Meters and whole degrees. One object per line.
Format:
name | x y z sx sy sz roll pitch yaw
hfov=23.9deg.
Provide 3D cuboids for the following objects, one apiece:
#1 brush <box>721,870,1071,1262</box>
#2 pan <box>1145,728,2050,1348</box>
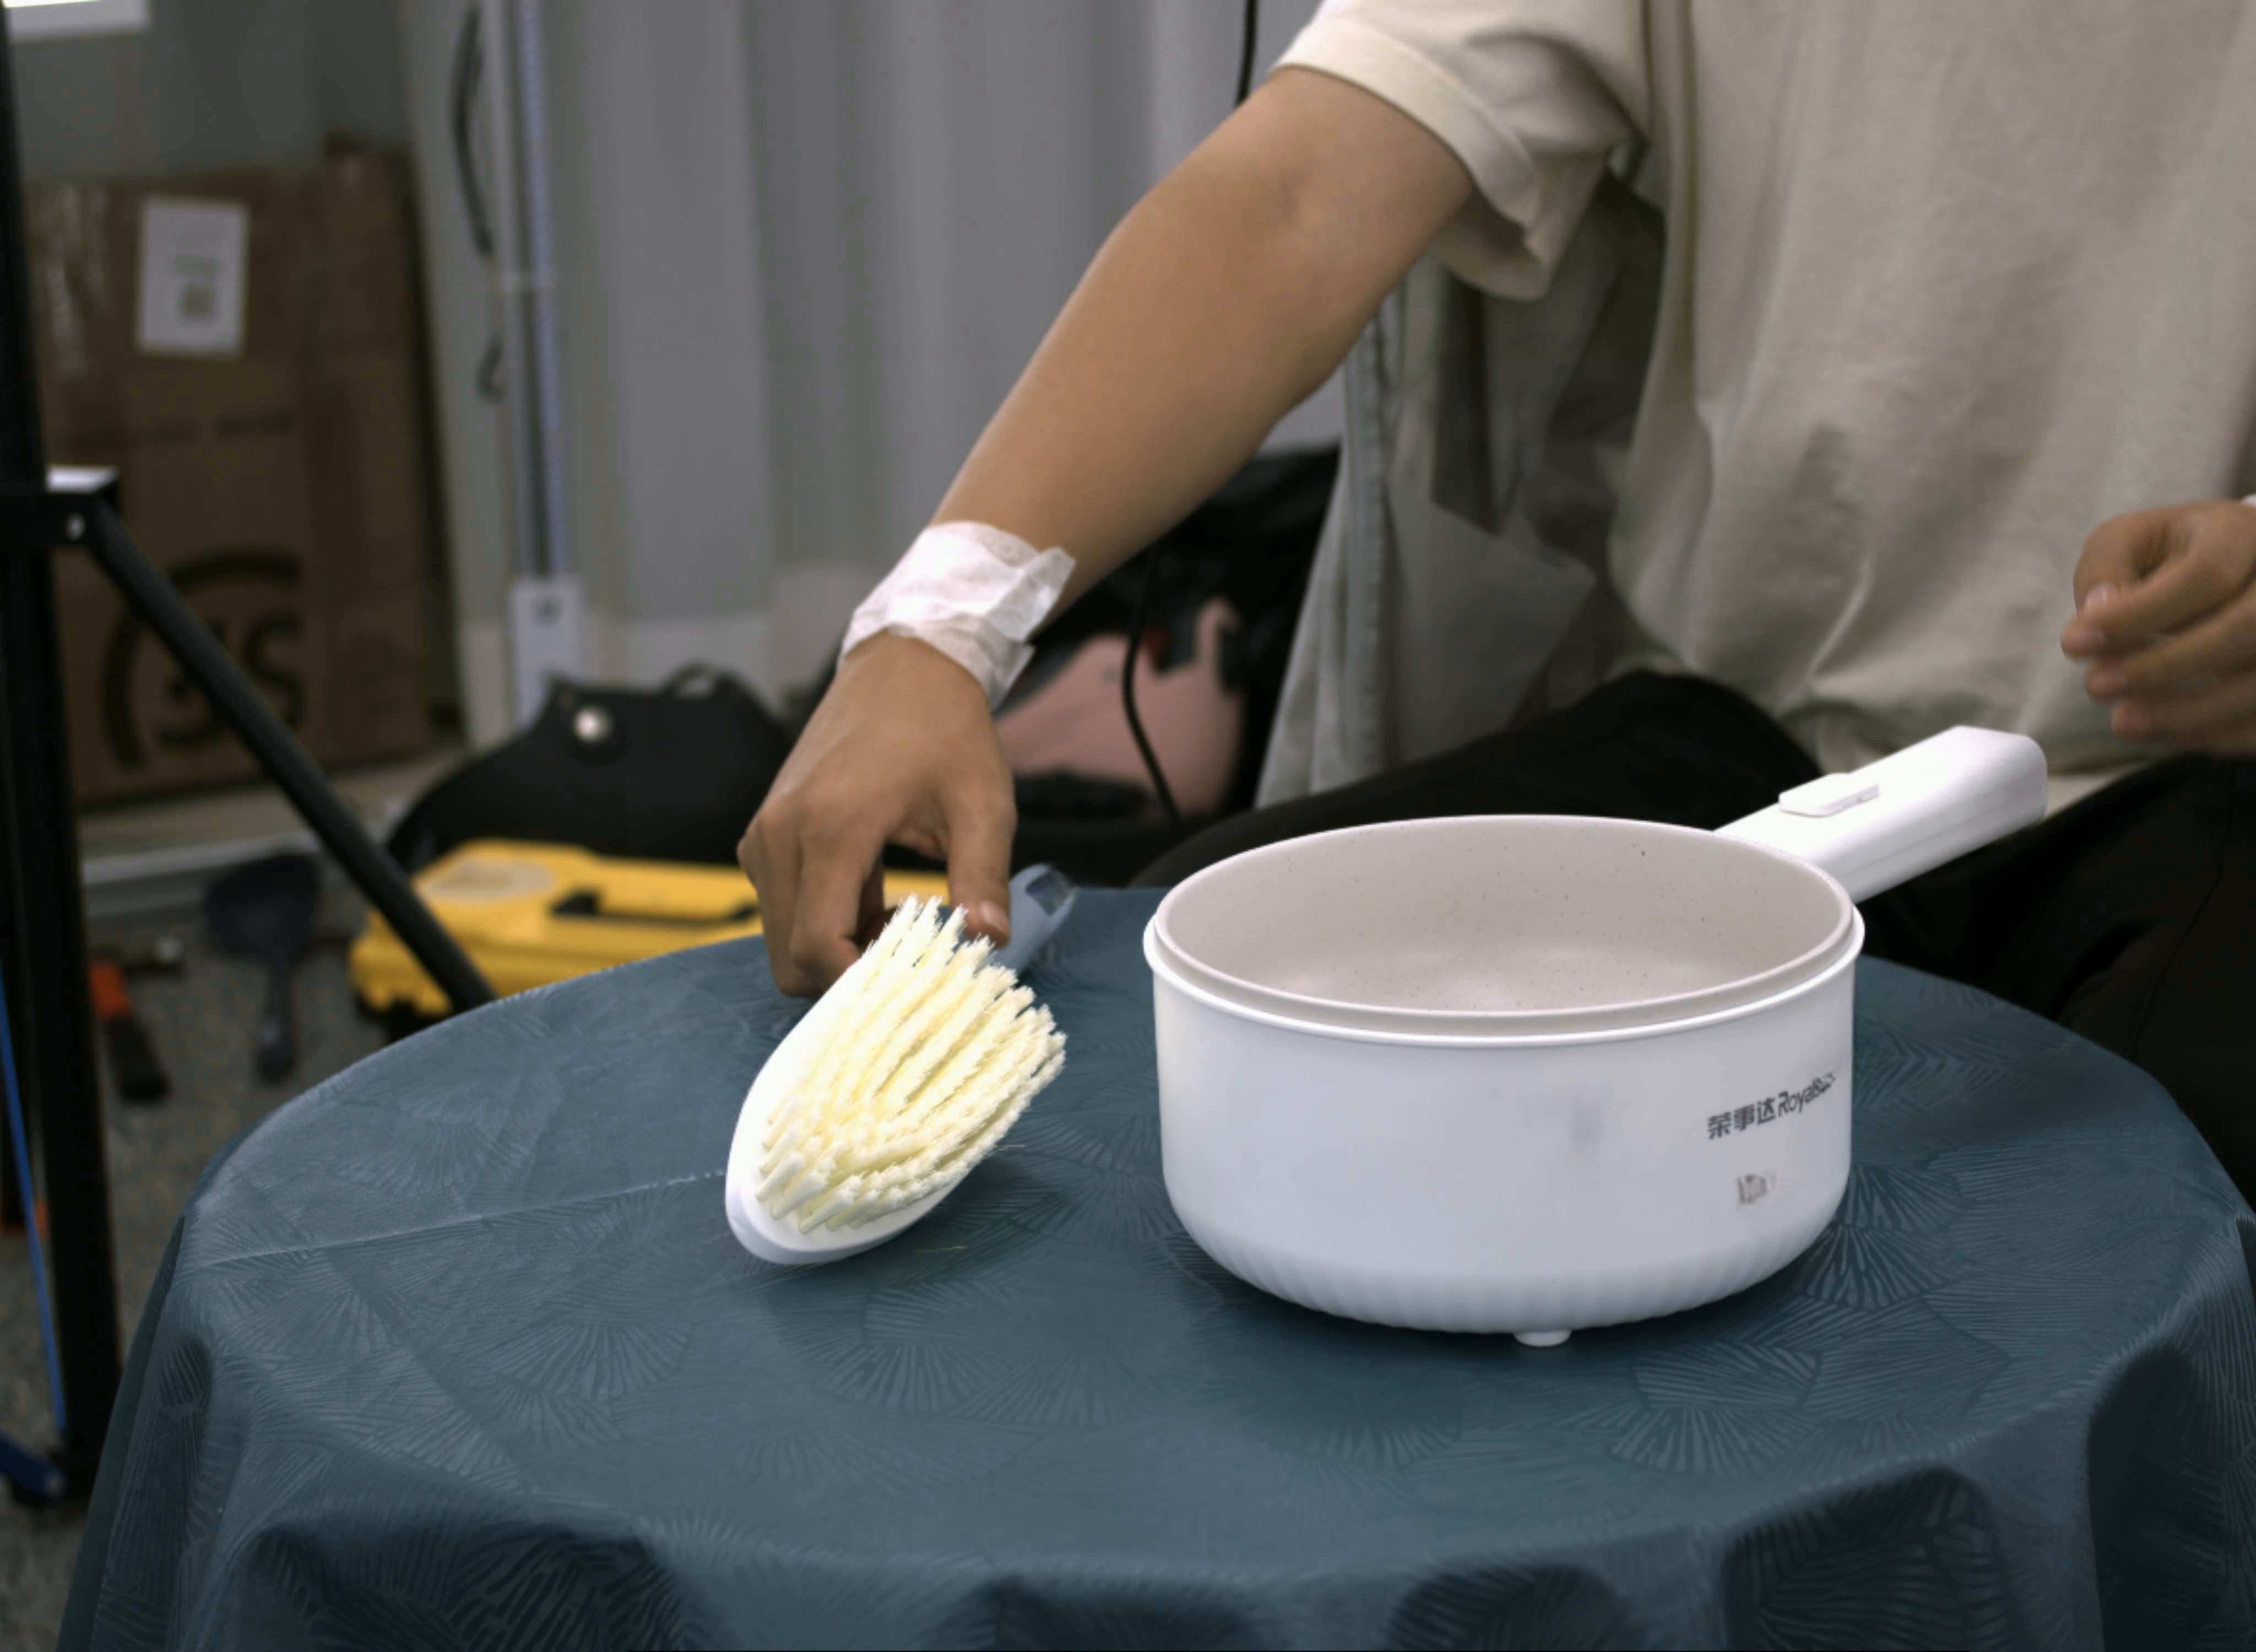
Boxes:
brush | -0.048 0.047 1.633 0.085 0.083 0.323 -2 16 16
pan | 0.156 0.055 1.537 0.206 0.102 0.347 11 20 41
